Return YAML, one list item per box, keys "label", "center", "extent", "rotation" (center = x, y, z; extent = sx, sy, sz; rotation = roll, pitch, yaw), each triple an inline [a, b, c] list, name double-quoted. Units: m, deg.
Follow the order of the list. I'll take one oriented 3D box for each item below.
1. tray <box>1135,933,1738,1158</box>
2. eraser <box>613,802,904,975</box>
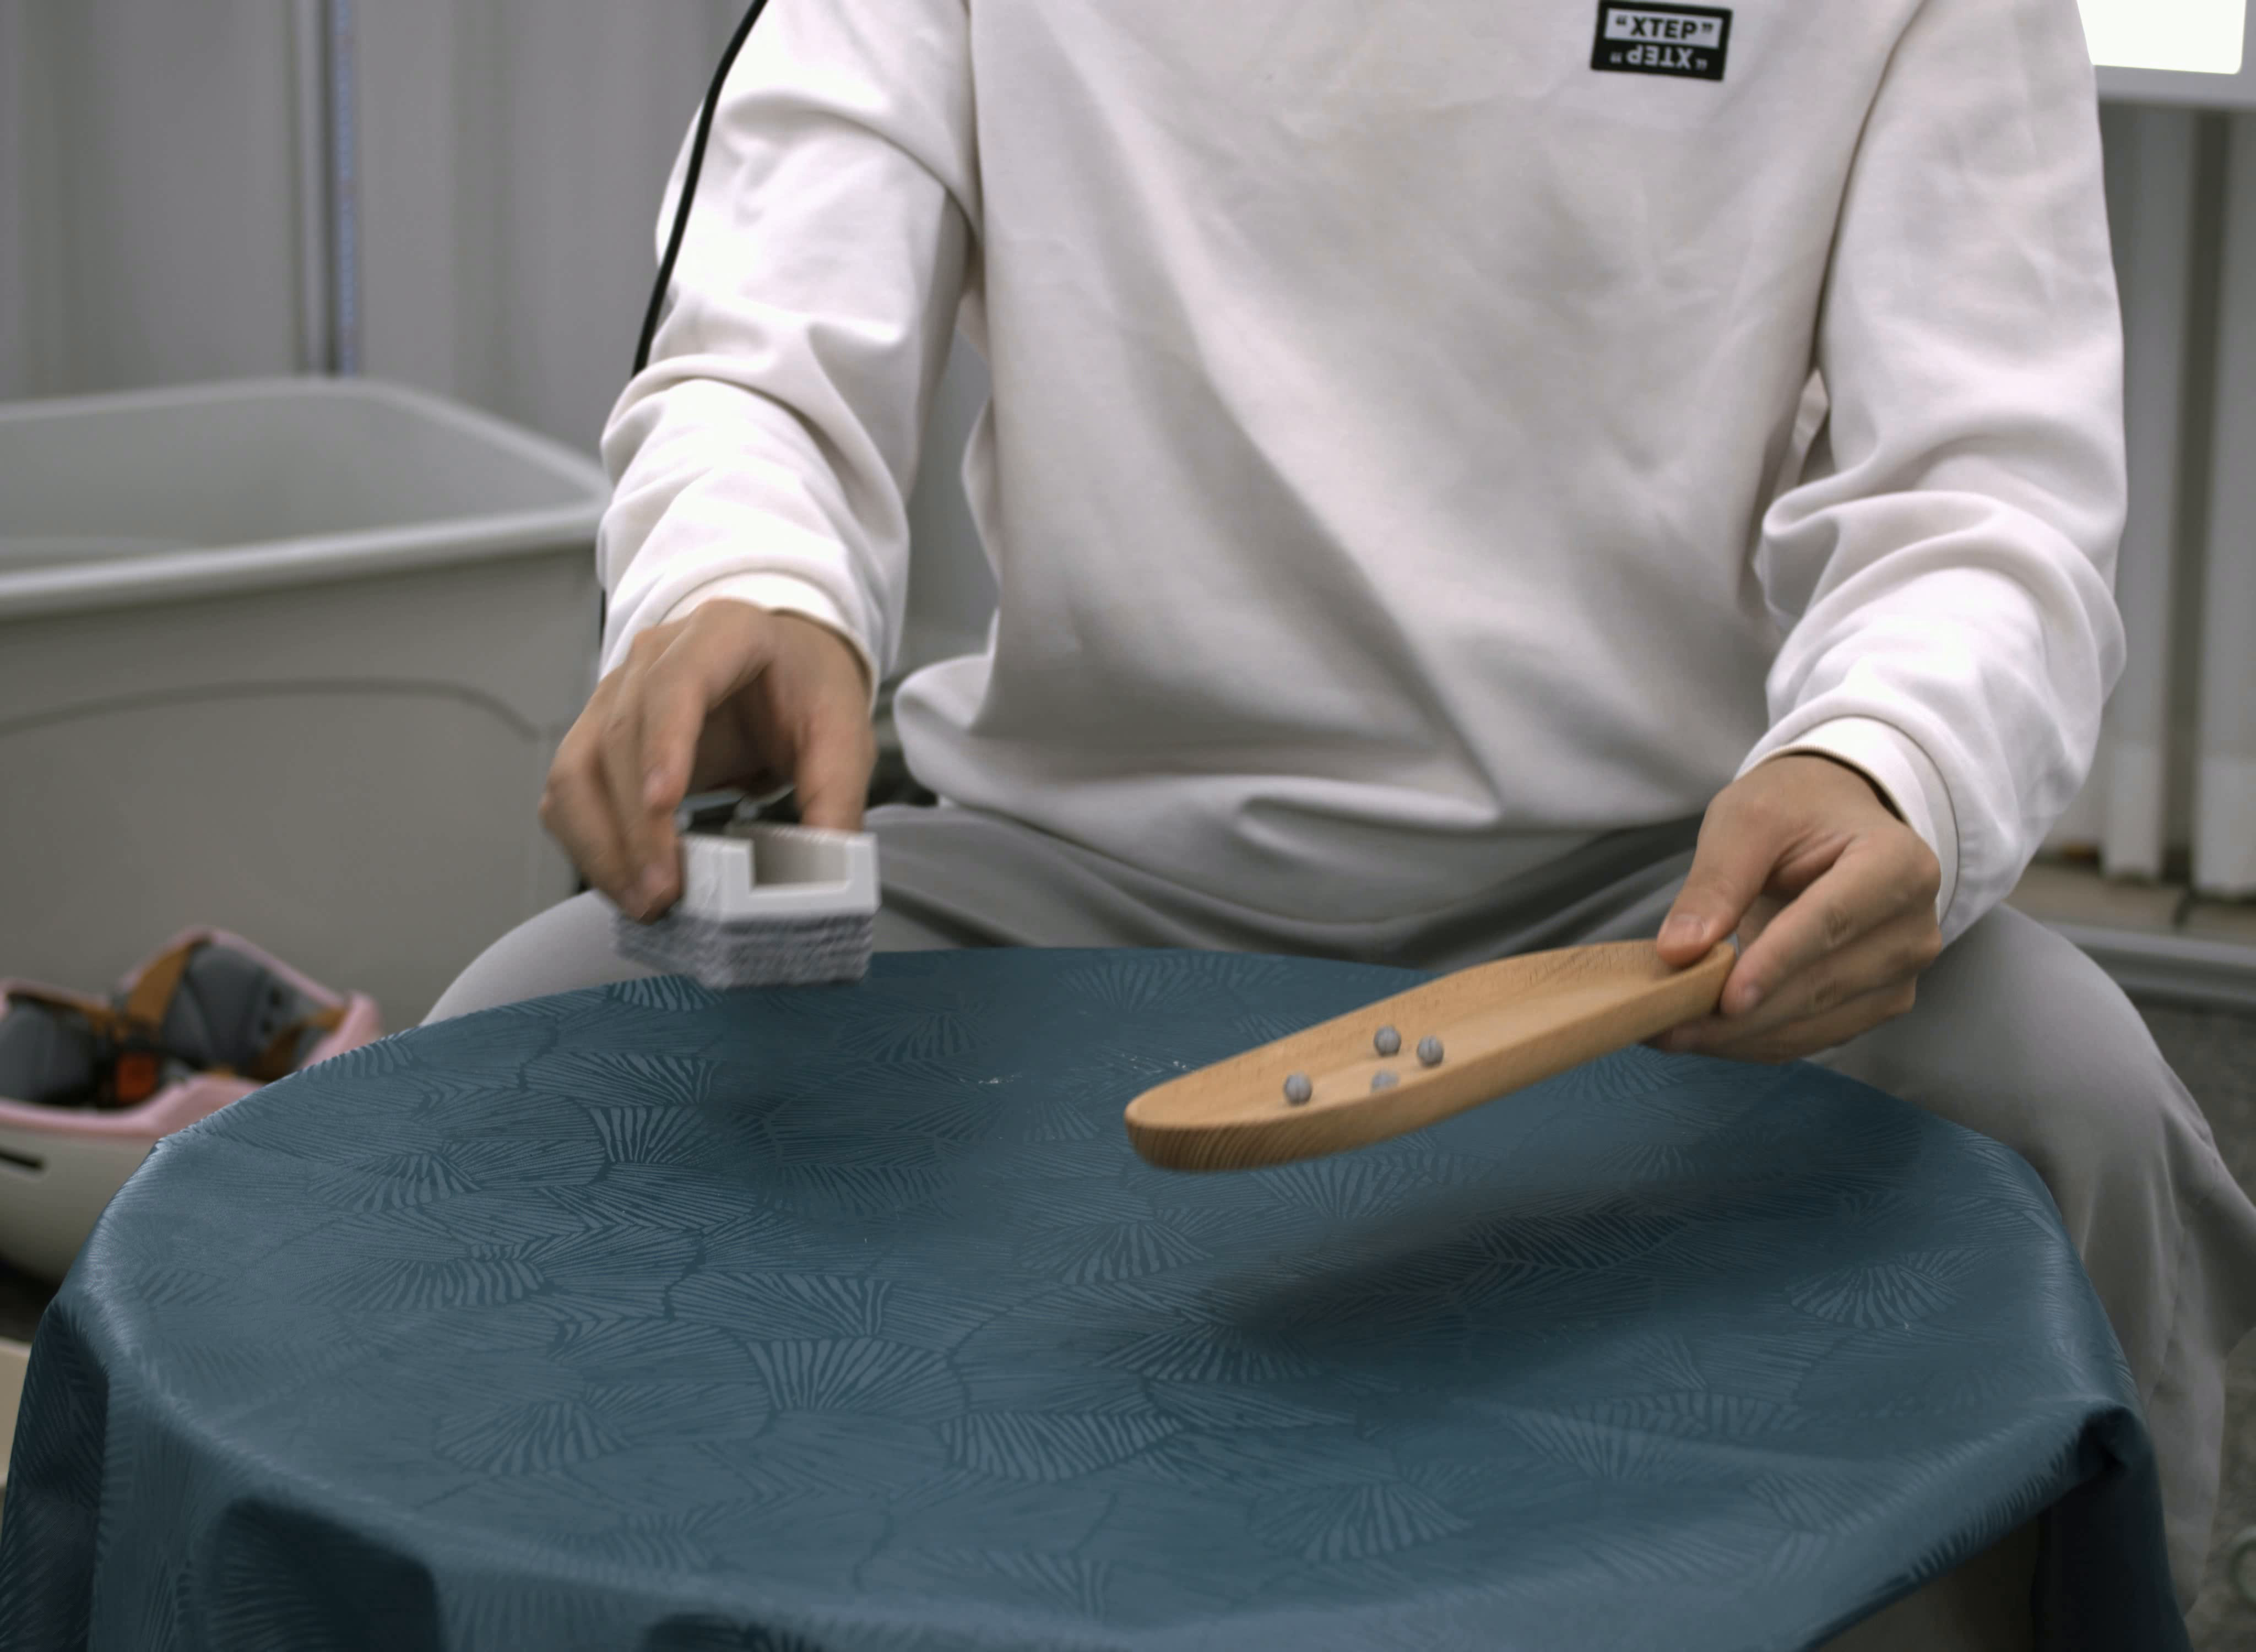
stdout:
- label: "tray"
  center: [0.094, 0.063, 1.553]
  extent: [0.100, 0.020, 0.232]
  rotation: [-3, 9, 41]
- label: "eraser"
  center: [-0.117, 0.019, 1.653]
  extent: [0.050, 0.047, 0.133]
  rotation: [1, 3, -25]
